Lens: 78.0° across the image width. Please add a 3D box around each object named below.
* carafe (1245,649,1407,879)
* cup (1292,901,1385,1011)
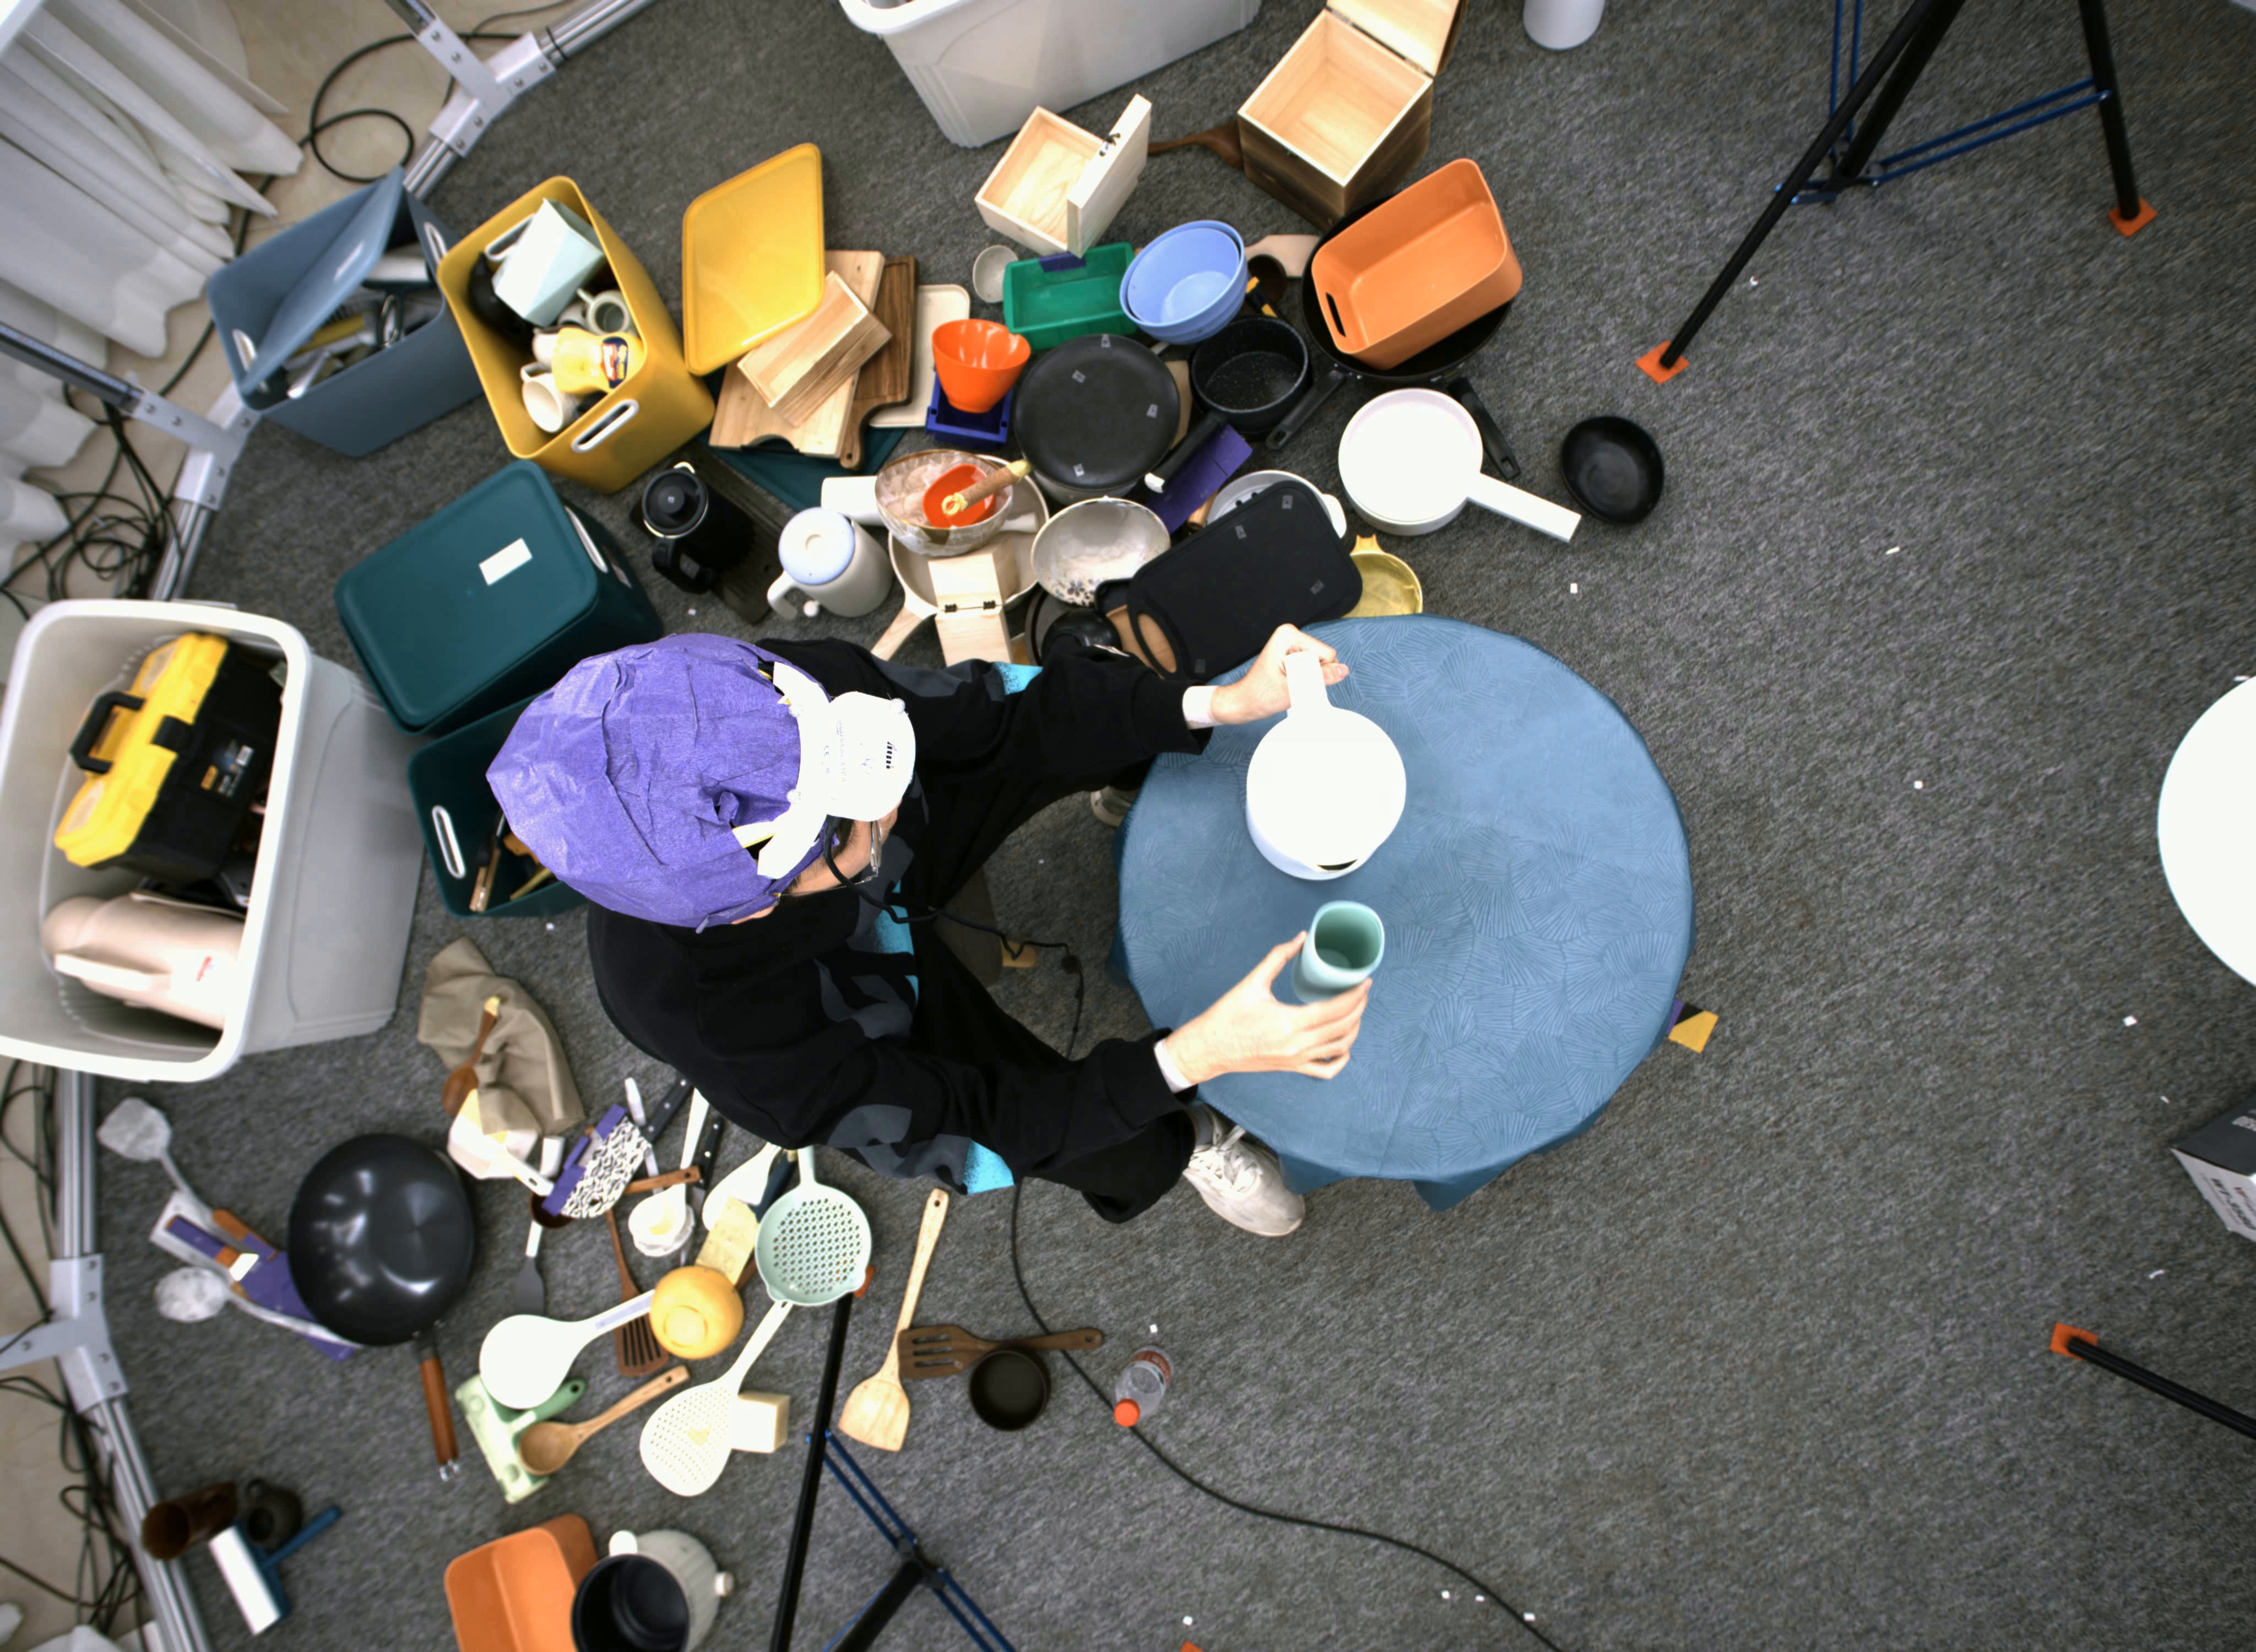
[{"bbox_3d":[0.187,-0.055,1.352,0.152,0.240,0.212,-9,87,4],"label":"carafe"},{"bbox_3d":[0.185,0.118,1.240,0.067,0.134,0.065,0,68,-1],"label":"cup"}]
